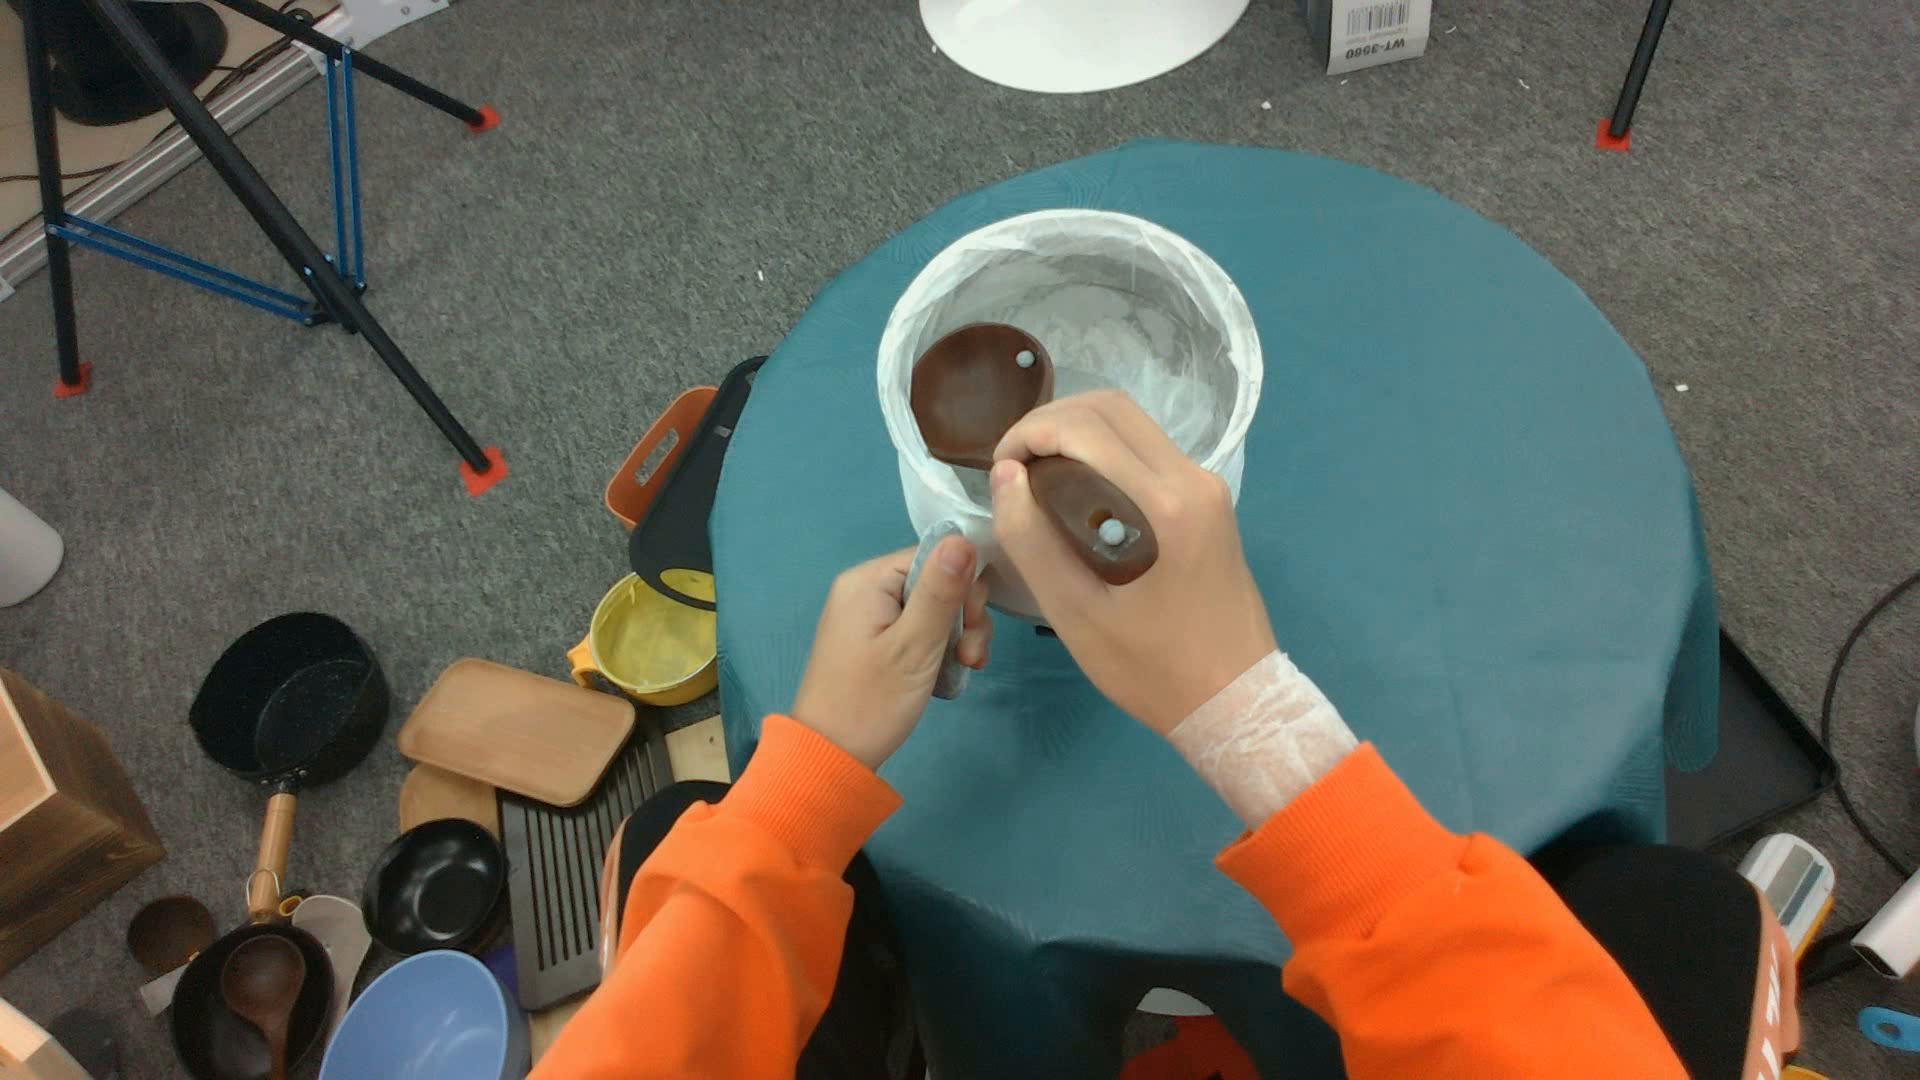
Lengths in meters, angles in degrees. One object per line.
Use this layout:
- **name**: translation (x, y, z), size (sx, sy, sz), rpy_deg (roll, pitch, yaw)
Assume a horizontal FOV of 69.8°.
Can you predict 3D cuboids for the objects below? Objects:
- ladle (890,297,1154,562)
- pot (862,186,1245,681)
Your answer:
- **ladle**: translation (0.019, -0.052, 0.556), size (0.076, 0.065, 0.260), rpy_deg (-40, 17, 3)
- **pot**: translation (0.034, -0.043, 0.680), size (0.178, 0.136, 0.234), rpy_deg (26, 69, 17)
